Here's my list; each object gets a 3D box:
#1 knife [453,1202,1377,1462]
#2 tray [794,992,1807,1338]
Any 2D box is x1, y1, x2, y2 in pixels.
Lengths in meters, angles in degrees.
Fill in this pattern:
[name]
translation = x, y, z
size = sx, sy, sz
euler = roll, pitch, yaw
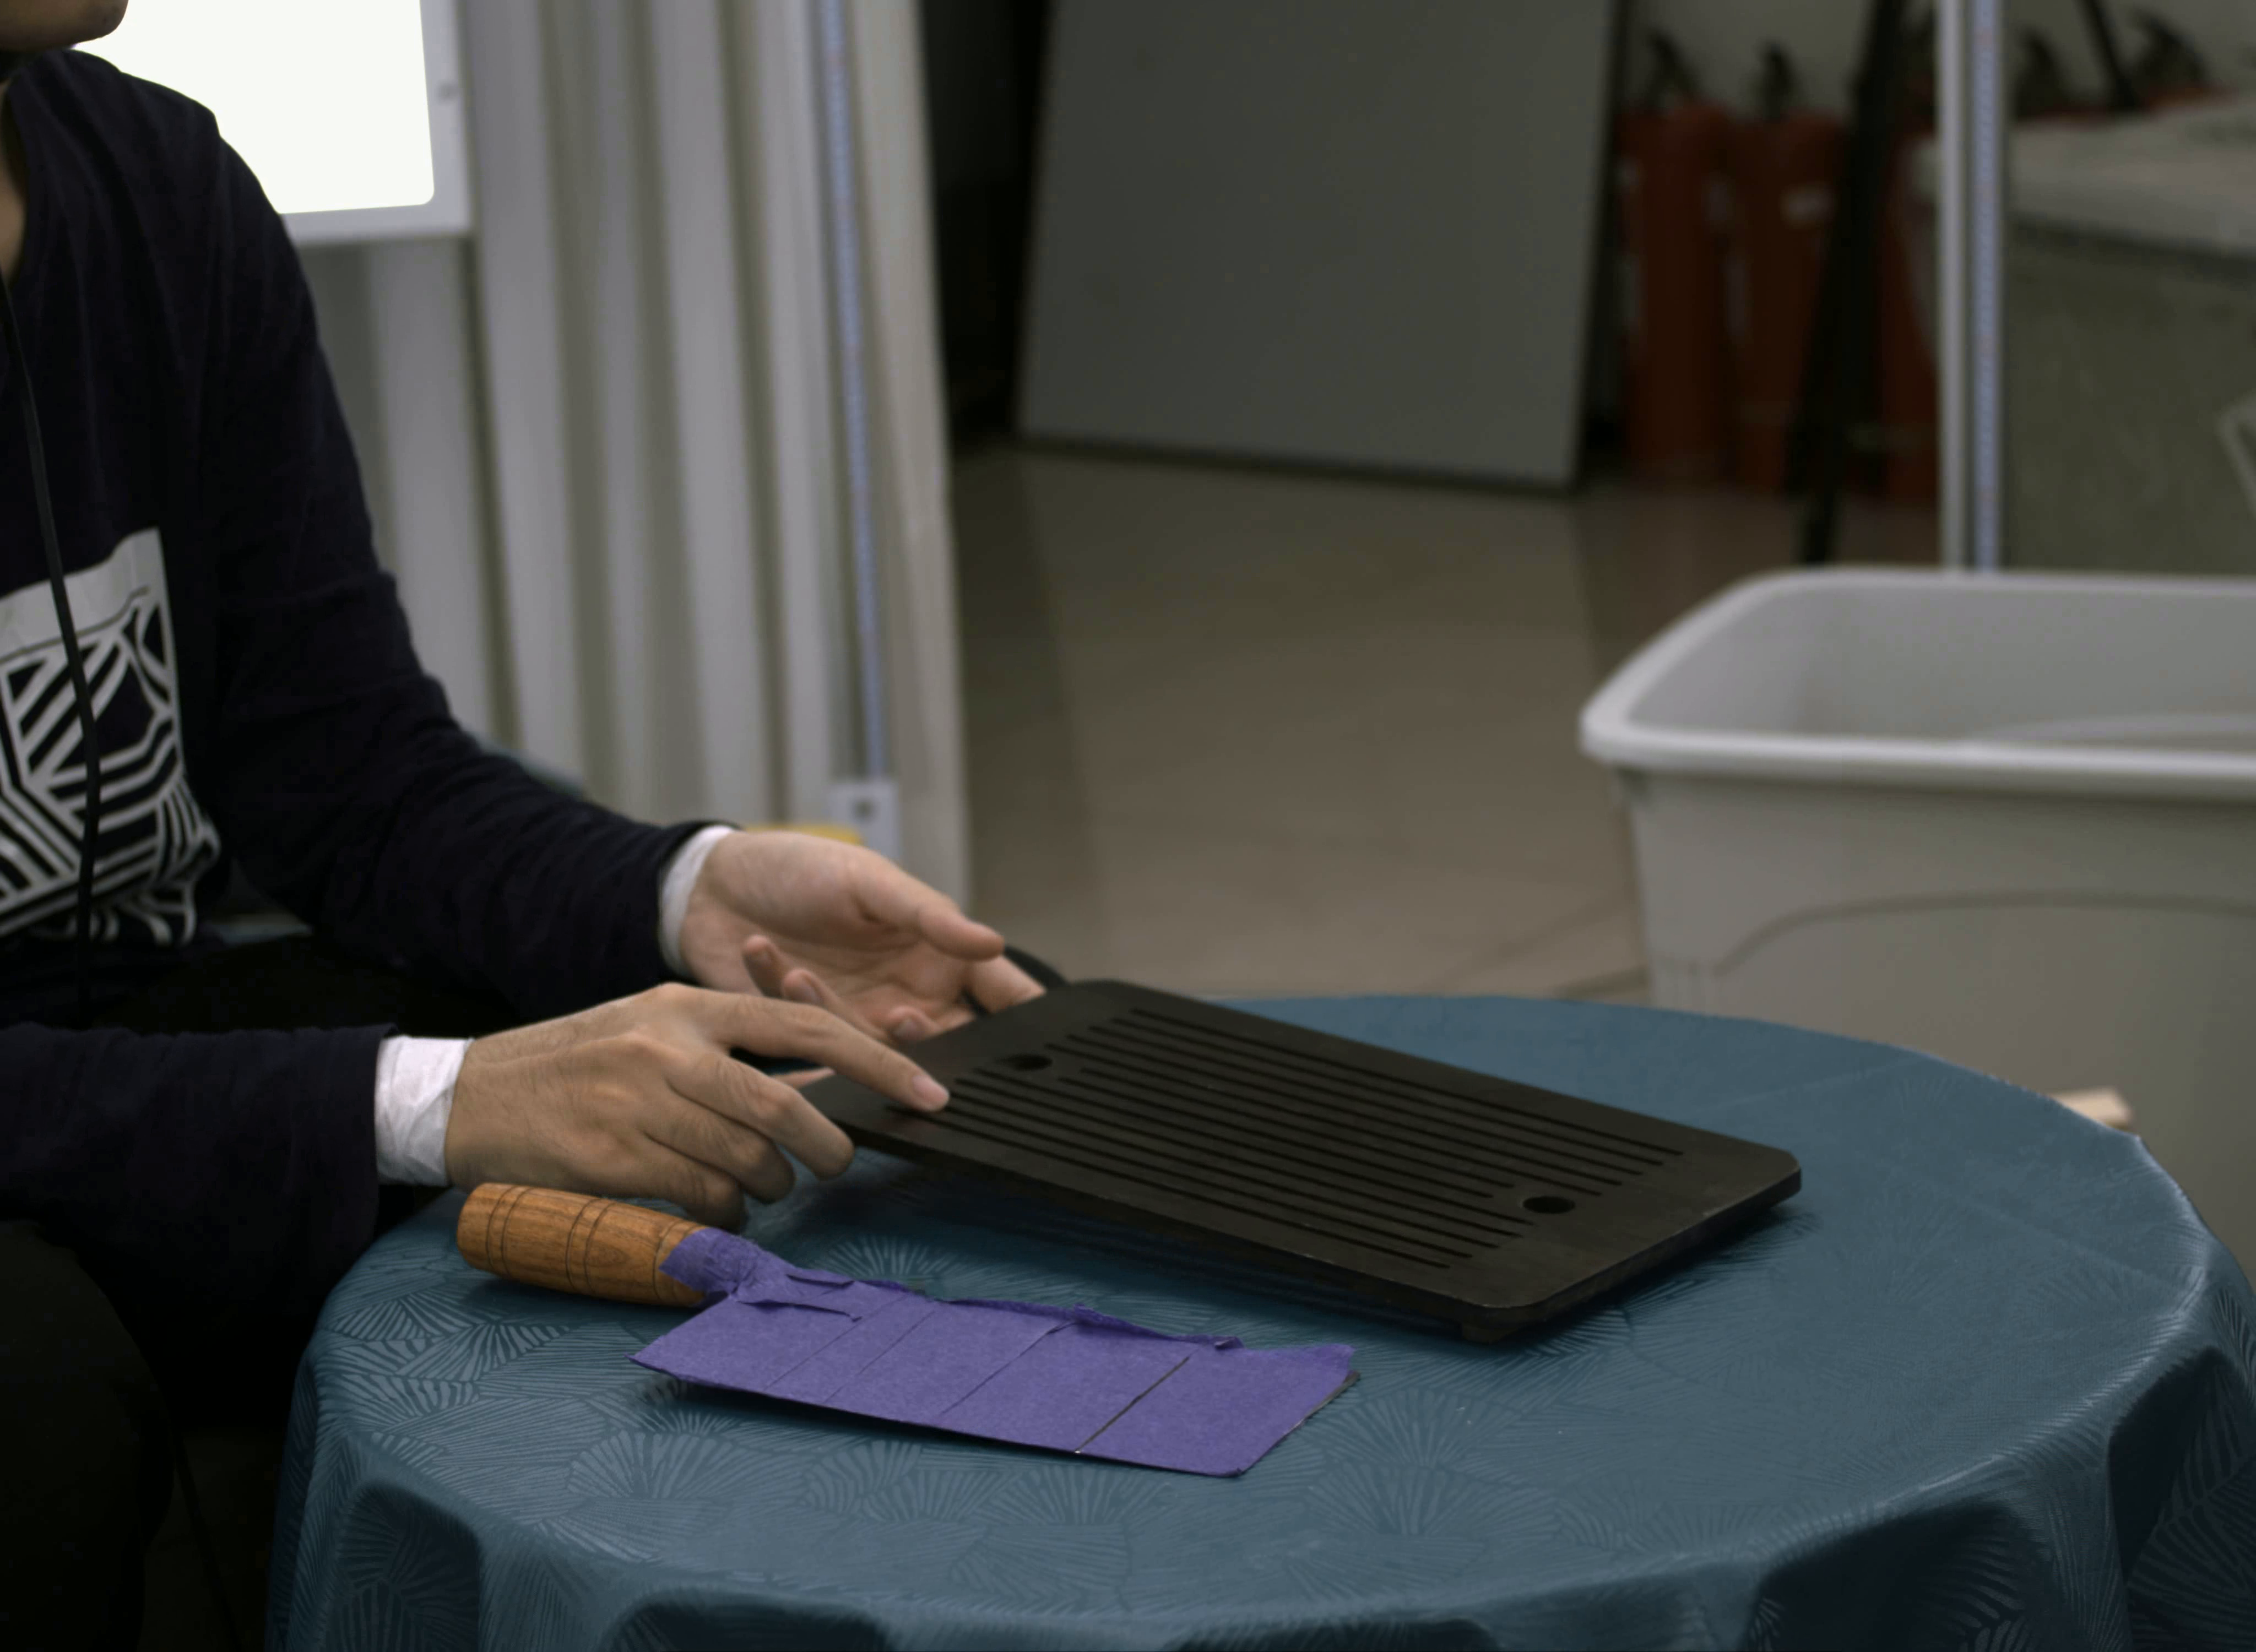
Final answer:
[knife]
translation = -0.084, 0.151, 1.620
size = 0.316, 0.032, 0.102
euler = 4, 15, 29
[tray]
translation = 0.053, 0.106, 1.746
size = 0.308, 0.019, 0.167
euler = 11, 20, 39
